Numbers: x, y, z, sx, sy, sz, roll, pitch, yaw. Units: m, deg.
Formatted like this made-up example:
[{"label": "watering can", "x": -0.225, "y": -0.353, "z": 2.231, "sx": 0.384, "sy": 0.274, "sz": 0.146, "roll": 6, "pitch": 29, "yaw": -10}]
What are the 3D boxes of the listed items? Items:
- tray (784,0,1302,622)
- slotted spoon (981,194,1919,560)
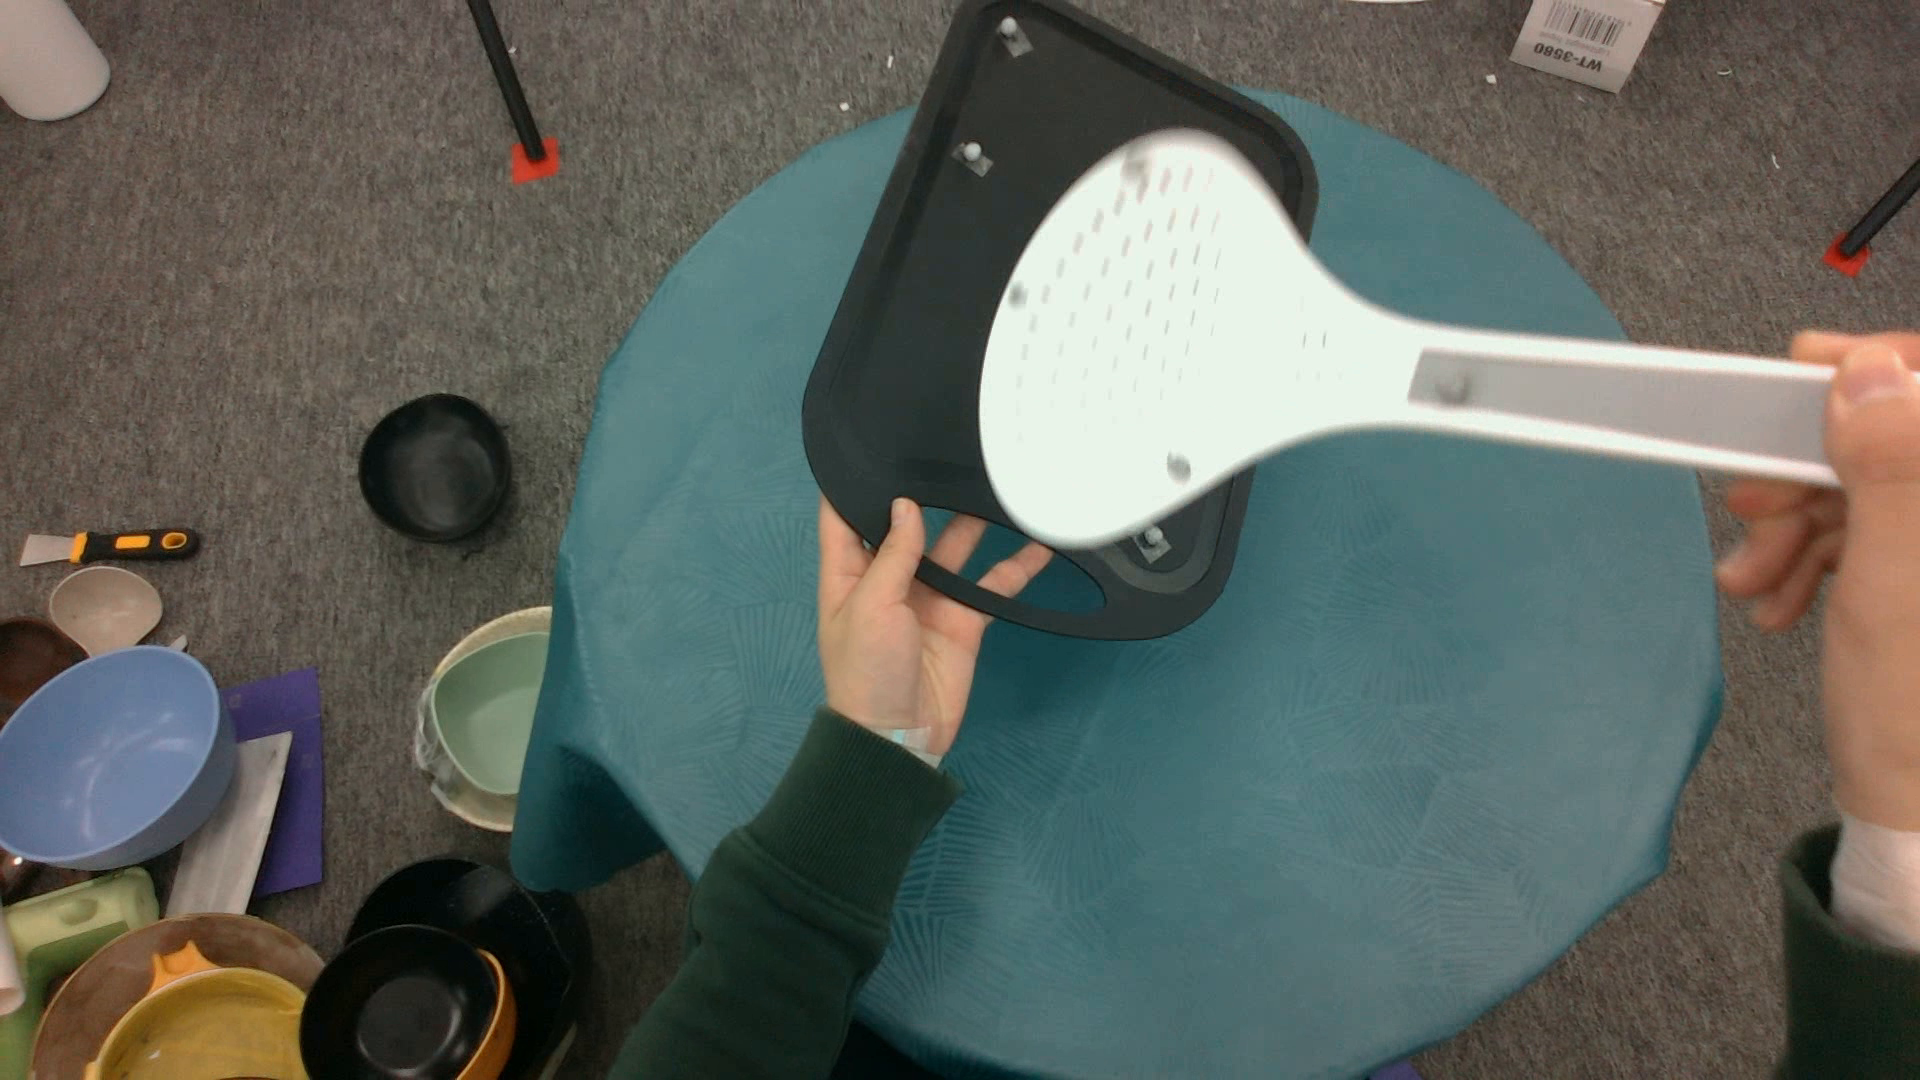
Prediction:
[{"label": "tray", "x": 0.050, "y": -0.119, "z": 0.644, "sx": 0.211, "sy": 0.010, "sz": 0.326, "roll": 23, "pitch": 65, "yaw": -11}, {"label": "slotted spoon", "x": 0.124, "y": -0.043, "z": 0.411, "sx": 0.046, "sy": 0.349, "sz": 0.136, "roll": 18, "pitch": 87, "yaw": -34}]
